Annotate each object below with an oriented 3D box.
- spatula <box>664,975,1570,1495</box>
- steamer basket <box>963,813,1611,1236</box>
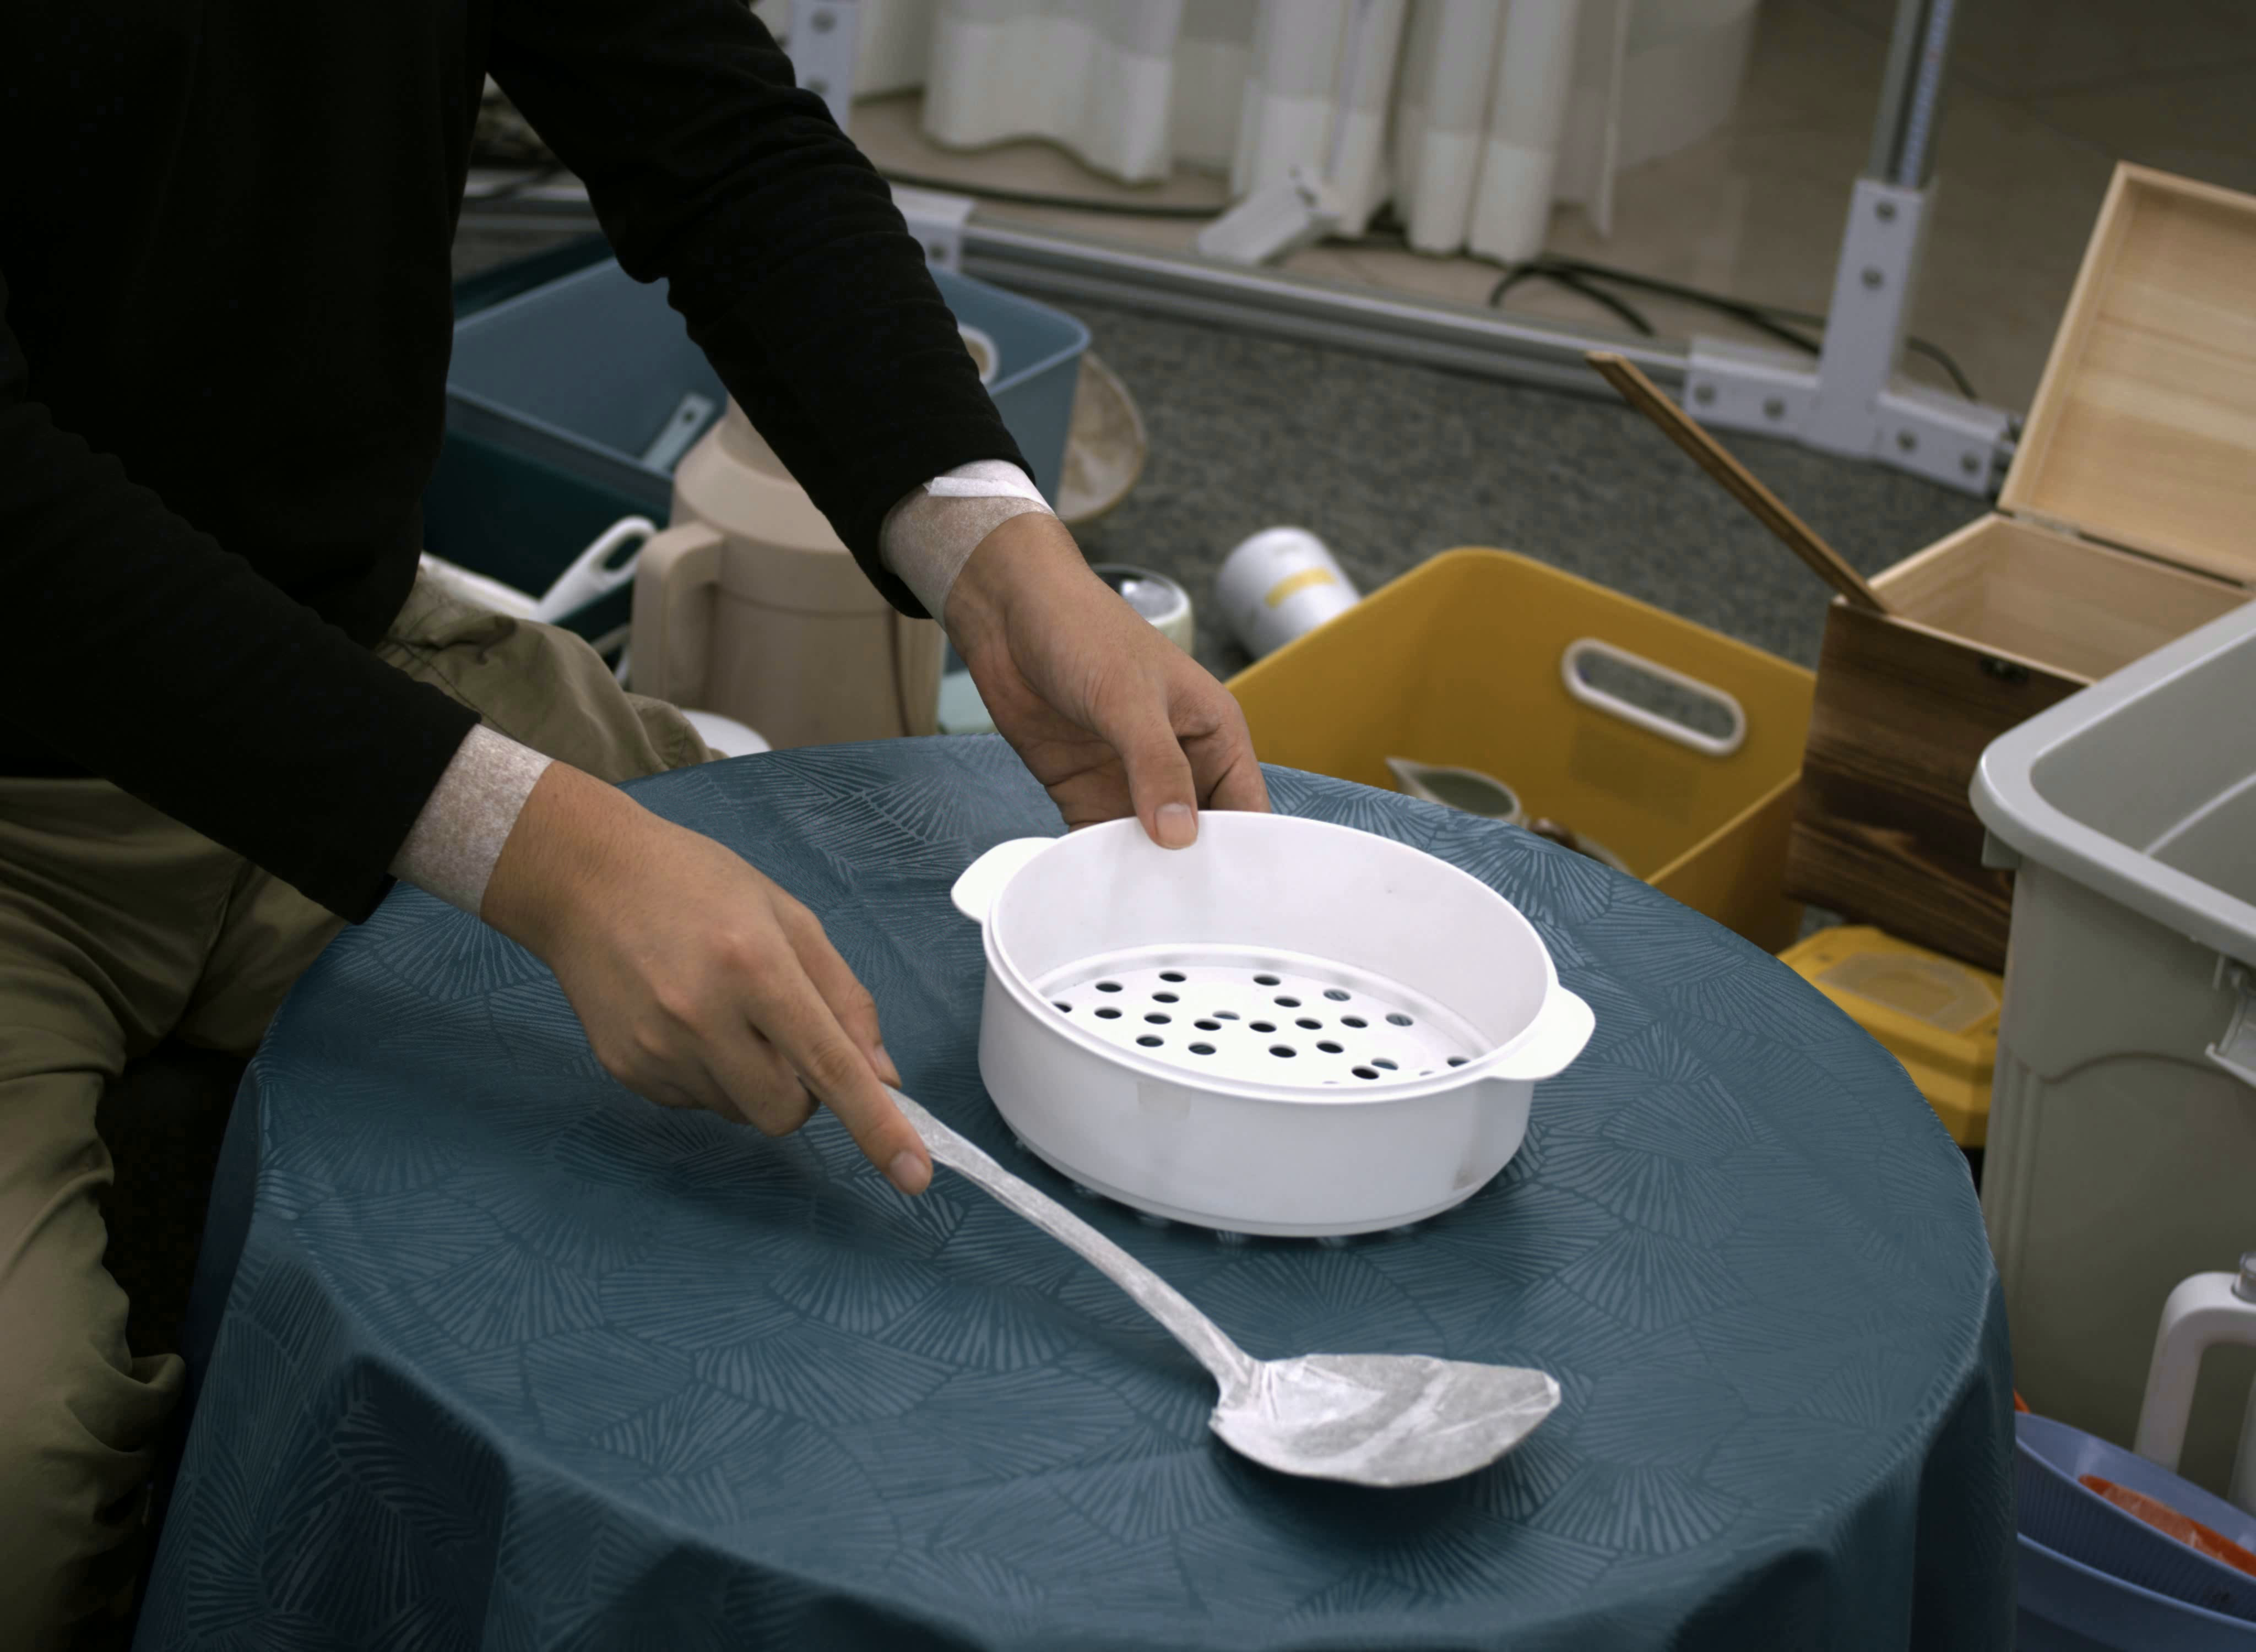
[{"bbox_3d":[-0.022,0.123,1.727,0.367,0.044,0.098,32,37,27],"label":"spatula"},{"bbox_3d":[0.051,0.069,1.842,0.231,0.069,0.202,16,28,19],"label":"steamer basket"}]
